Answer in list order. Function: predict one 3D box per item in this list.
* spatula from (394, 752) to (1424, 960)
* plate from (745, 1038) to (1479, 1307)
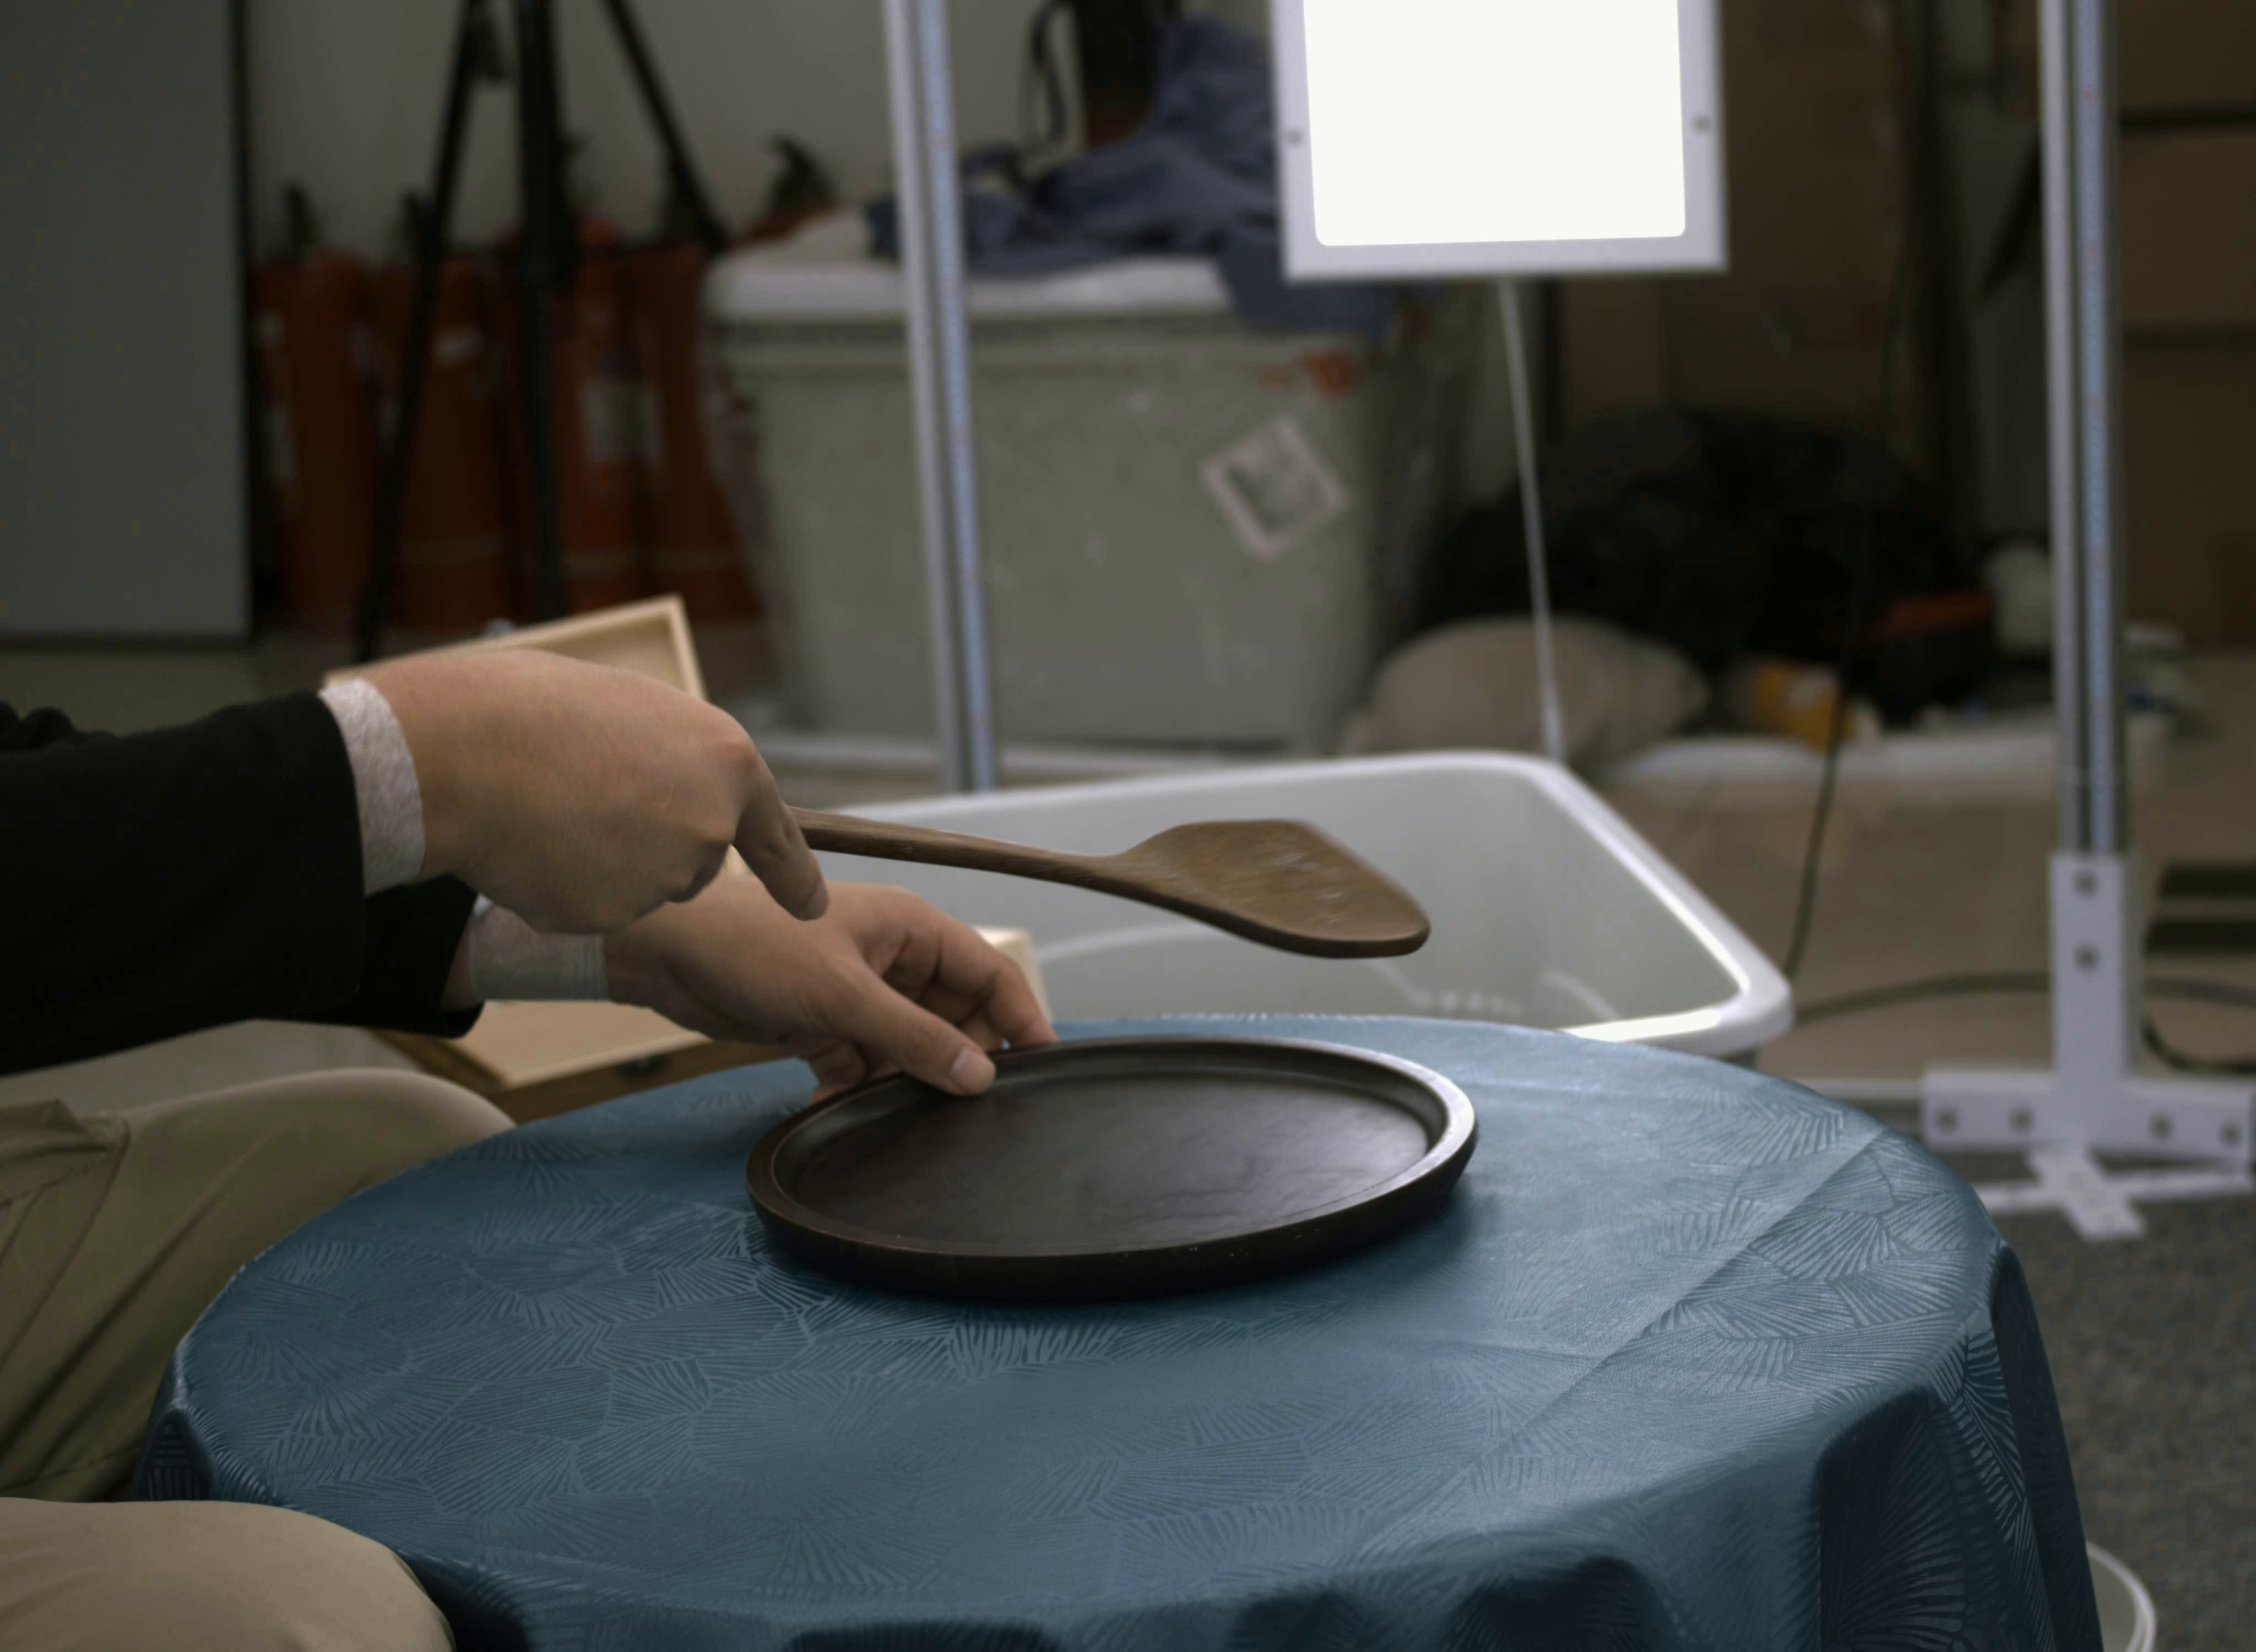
[{"bbox_3d":[-0.066,0.006,1.759,0.377,0.016,0.097,8,20,-36],"label":"spatula"},{"bbox_3d":[-0.005,0.116,1.892,0.254,0.029,0.254,-6,15,0],"label":"plate"}]
